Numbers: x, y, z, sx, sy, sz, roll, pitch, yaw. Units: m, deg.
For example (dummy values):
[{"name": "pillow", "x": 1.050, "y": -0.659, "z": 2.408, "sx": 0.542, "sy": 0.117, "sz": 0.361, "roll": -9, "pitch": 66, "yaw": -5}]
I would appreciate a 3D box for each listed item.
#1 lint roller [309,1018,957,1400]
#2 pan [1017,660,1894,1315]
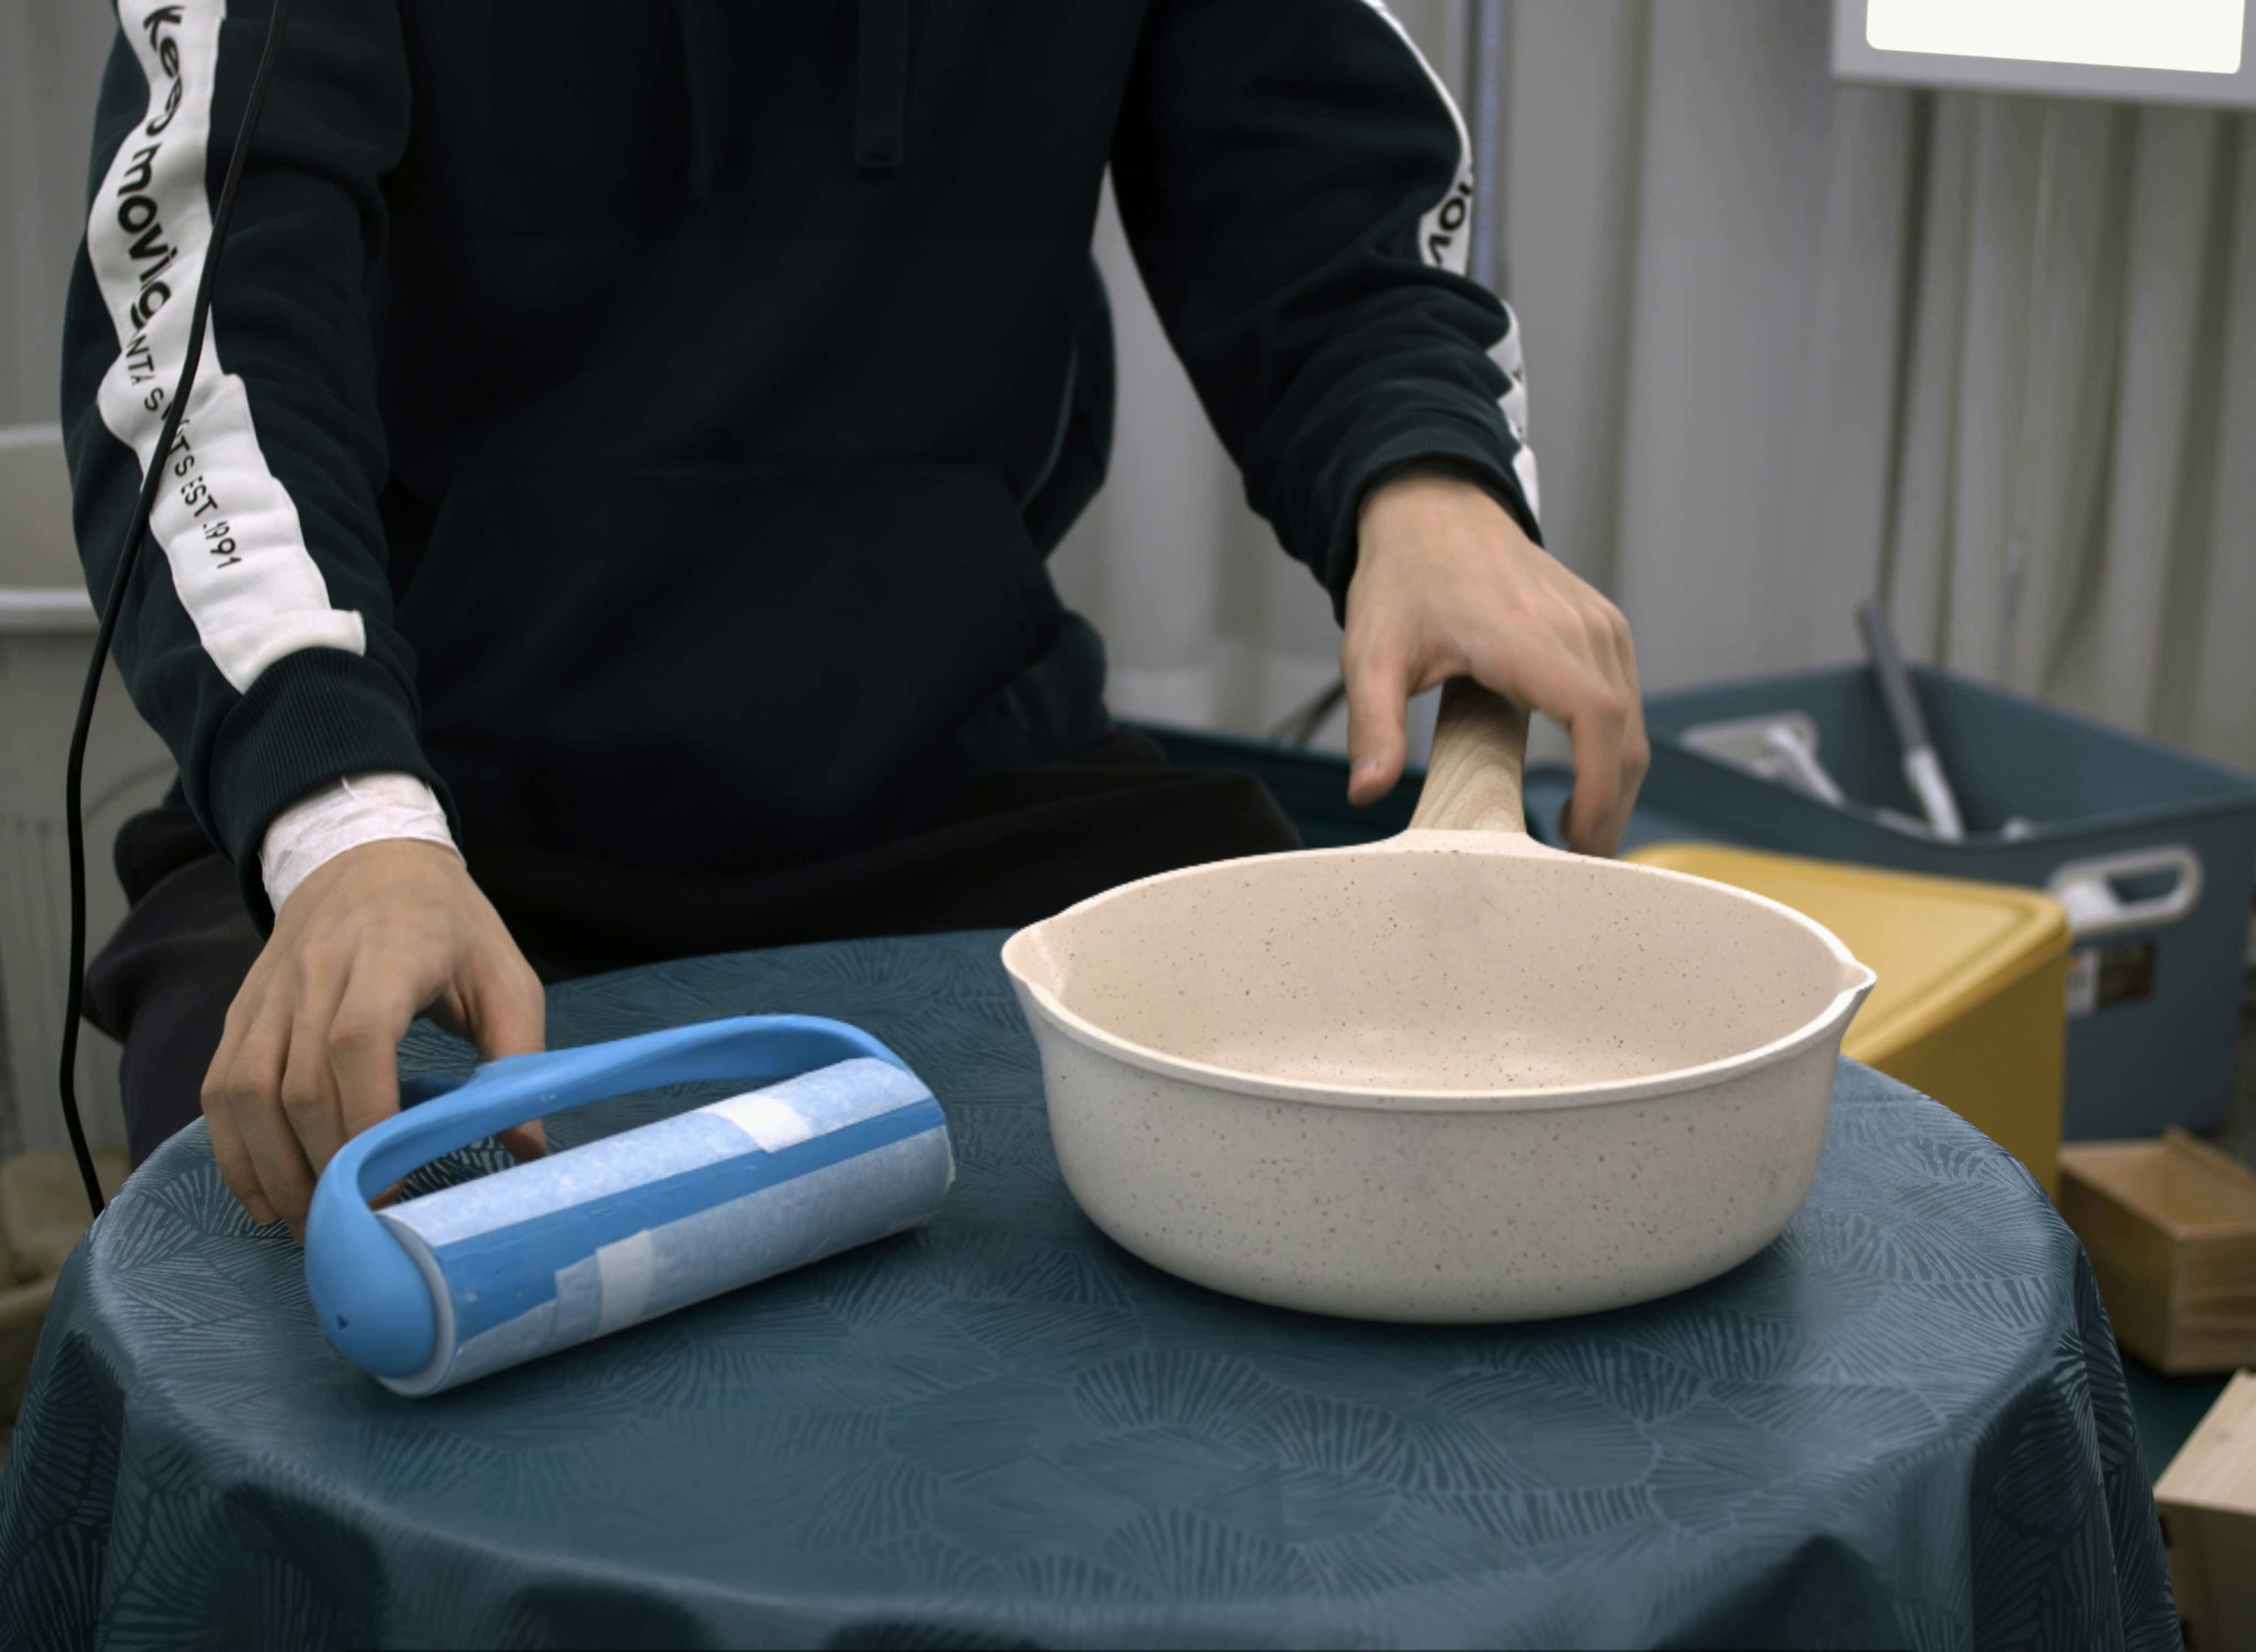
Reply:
[{"name": "lint roller", "x": -0.181, "y": 0.101, "z": 1.546, "sx": 0.178, "sy": 0.068, "sz": 0.230, "roll": 13, "pitch": 22, "yaw": 38}, {"name": "pan", "x": 0.107, "y": 0.046, "z": 1.673, "sx": 0.262, "sy": 0.103, "sz": 0.433, "roll": 1, "pitch": 15, "yaw": 5}]
